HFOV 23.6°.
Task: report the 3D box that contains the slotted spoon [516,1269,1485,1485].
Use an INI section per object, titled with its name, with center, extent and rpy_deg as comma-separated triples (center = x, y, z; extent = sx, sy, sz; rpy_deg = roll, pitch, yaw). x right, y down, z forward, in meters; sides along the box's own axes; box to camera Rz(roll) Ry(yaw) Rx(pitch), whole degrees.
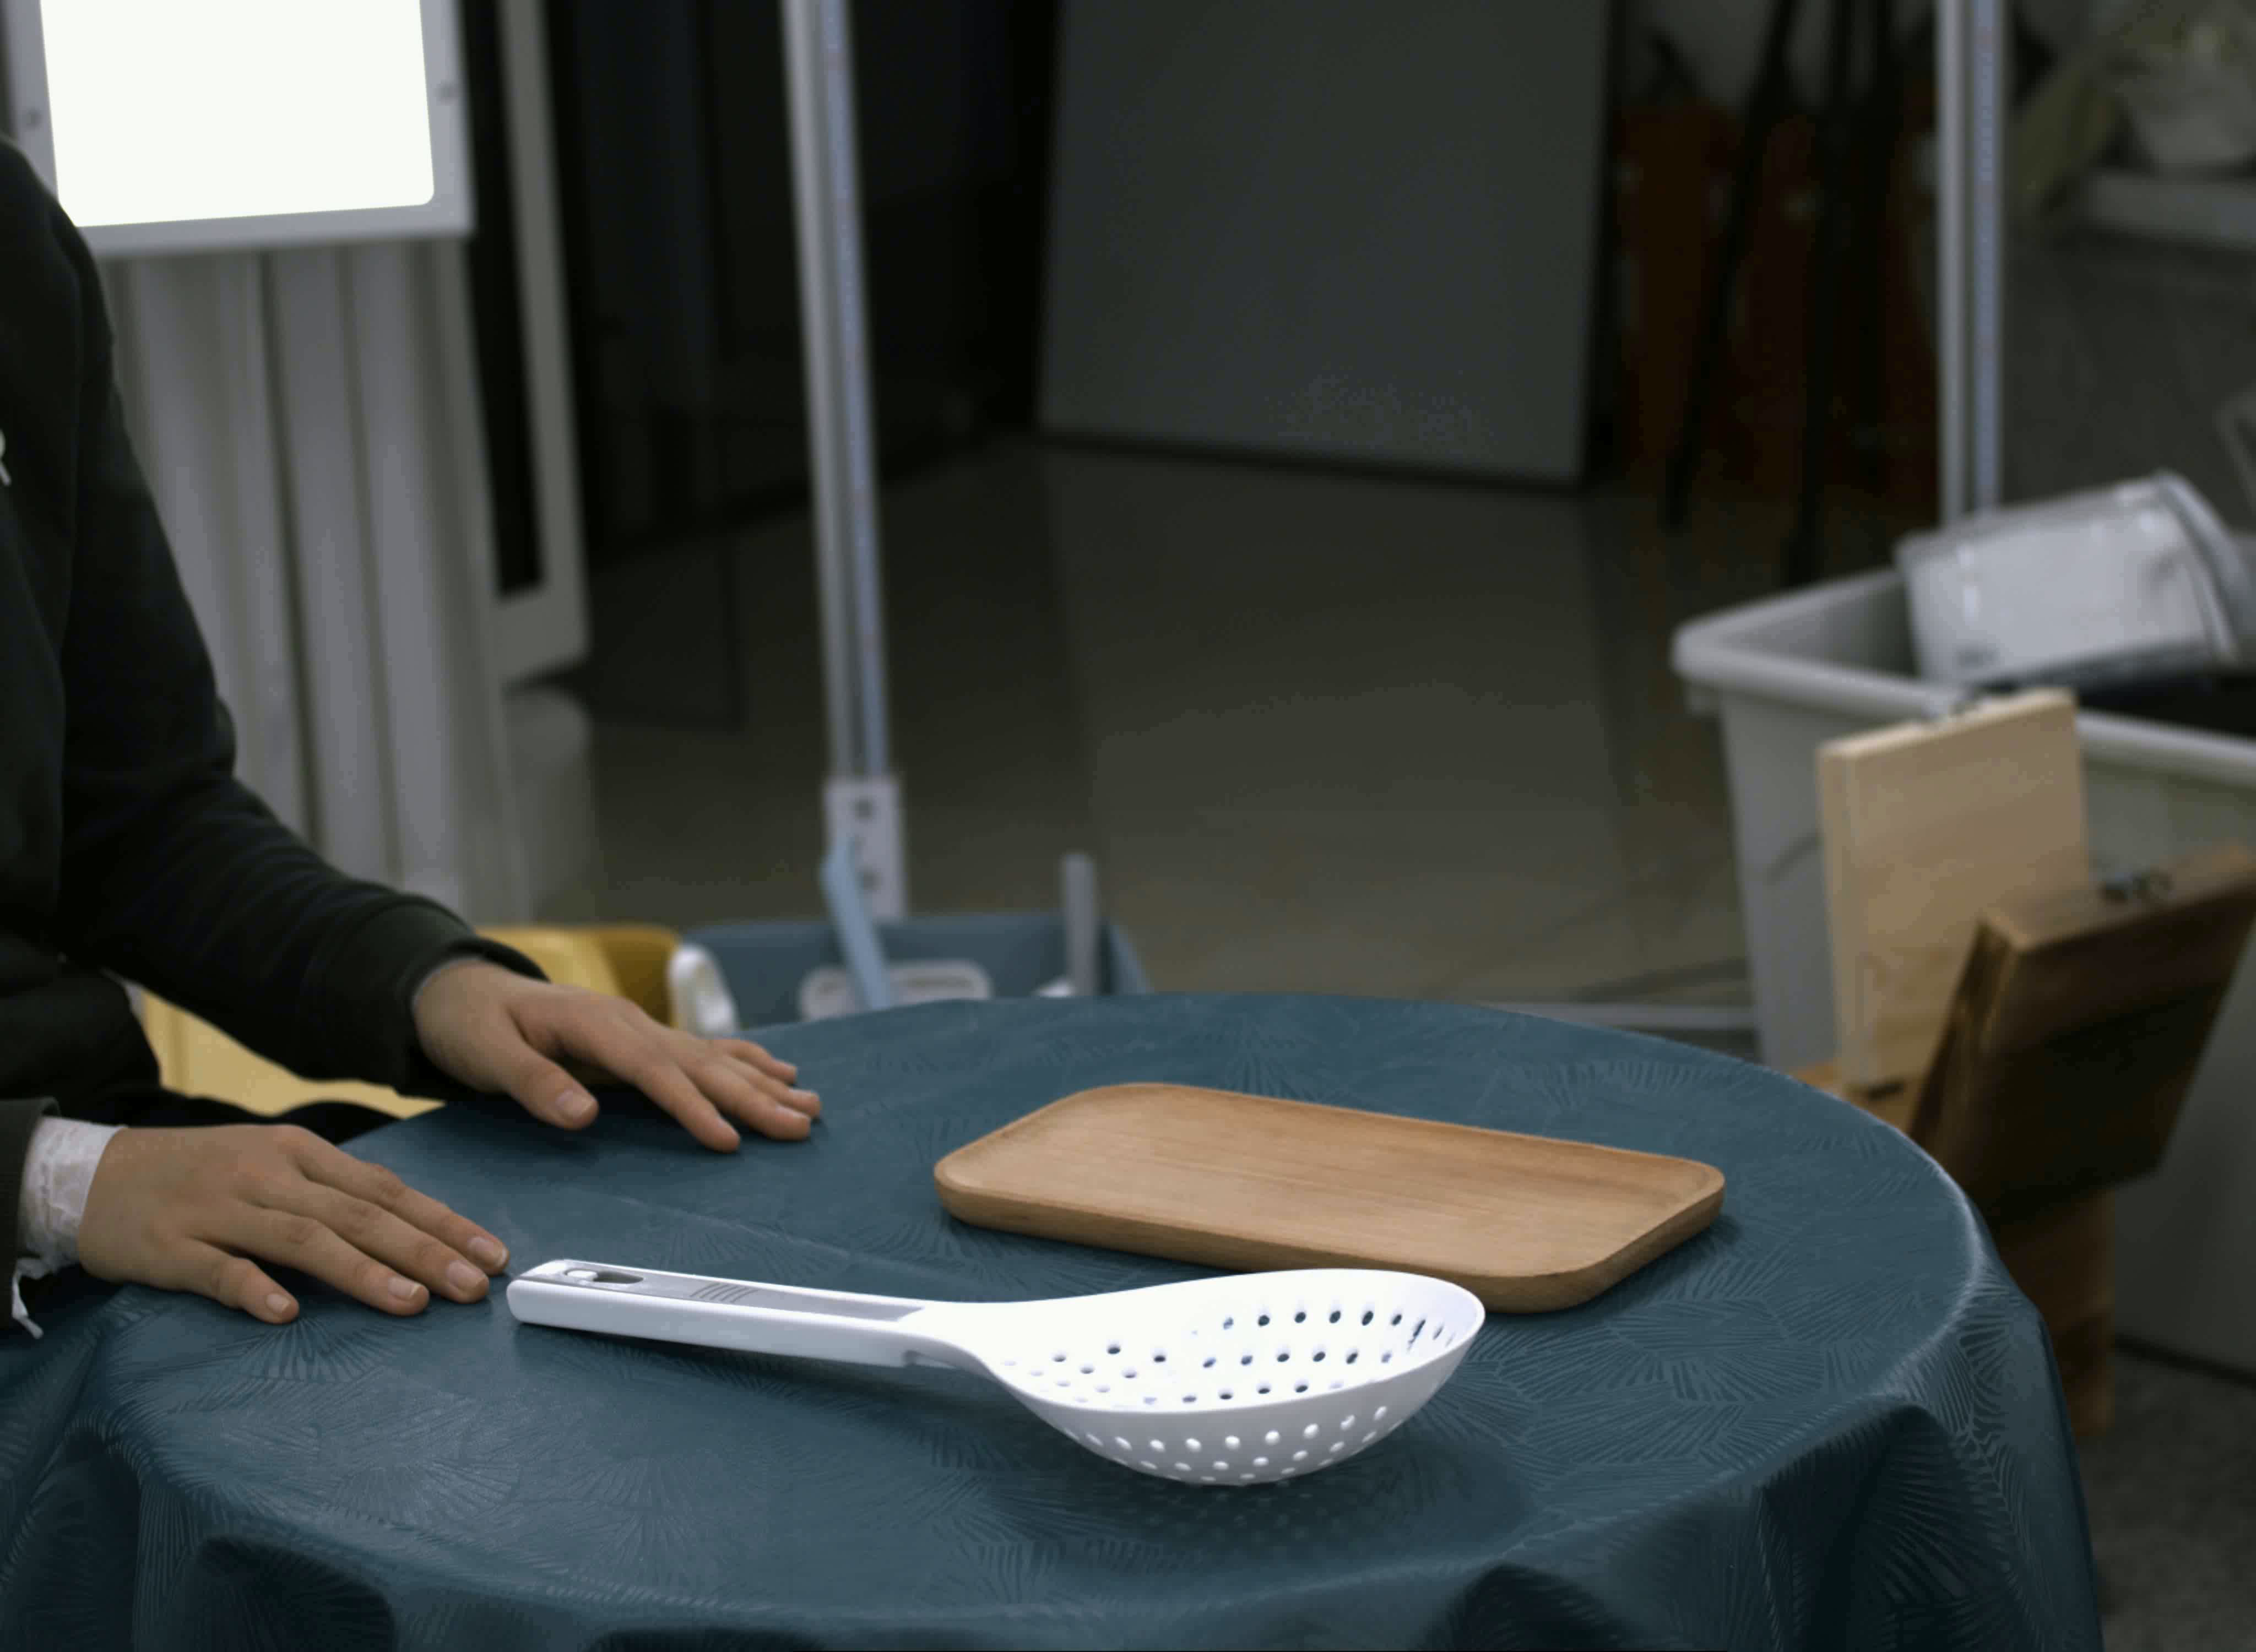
[slotted spoon]
center = -0.049, 0.149, 1.577
extent = 0.352, 0.046, 0.133
rpy_deg = 6, 15, 39

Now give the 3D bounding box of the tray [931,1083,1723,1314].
[tray]
center = 0.062, 0.118, 1.731
extent = 0.252, 0.023, 0.128
rpy_deg = 5, 15, 36
